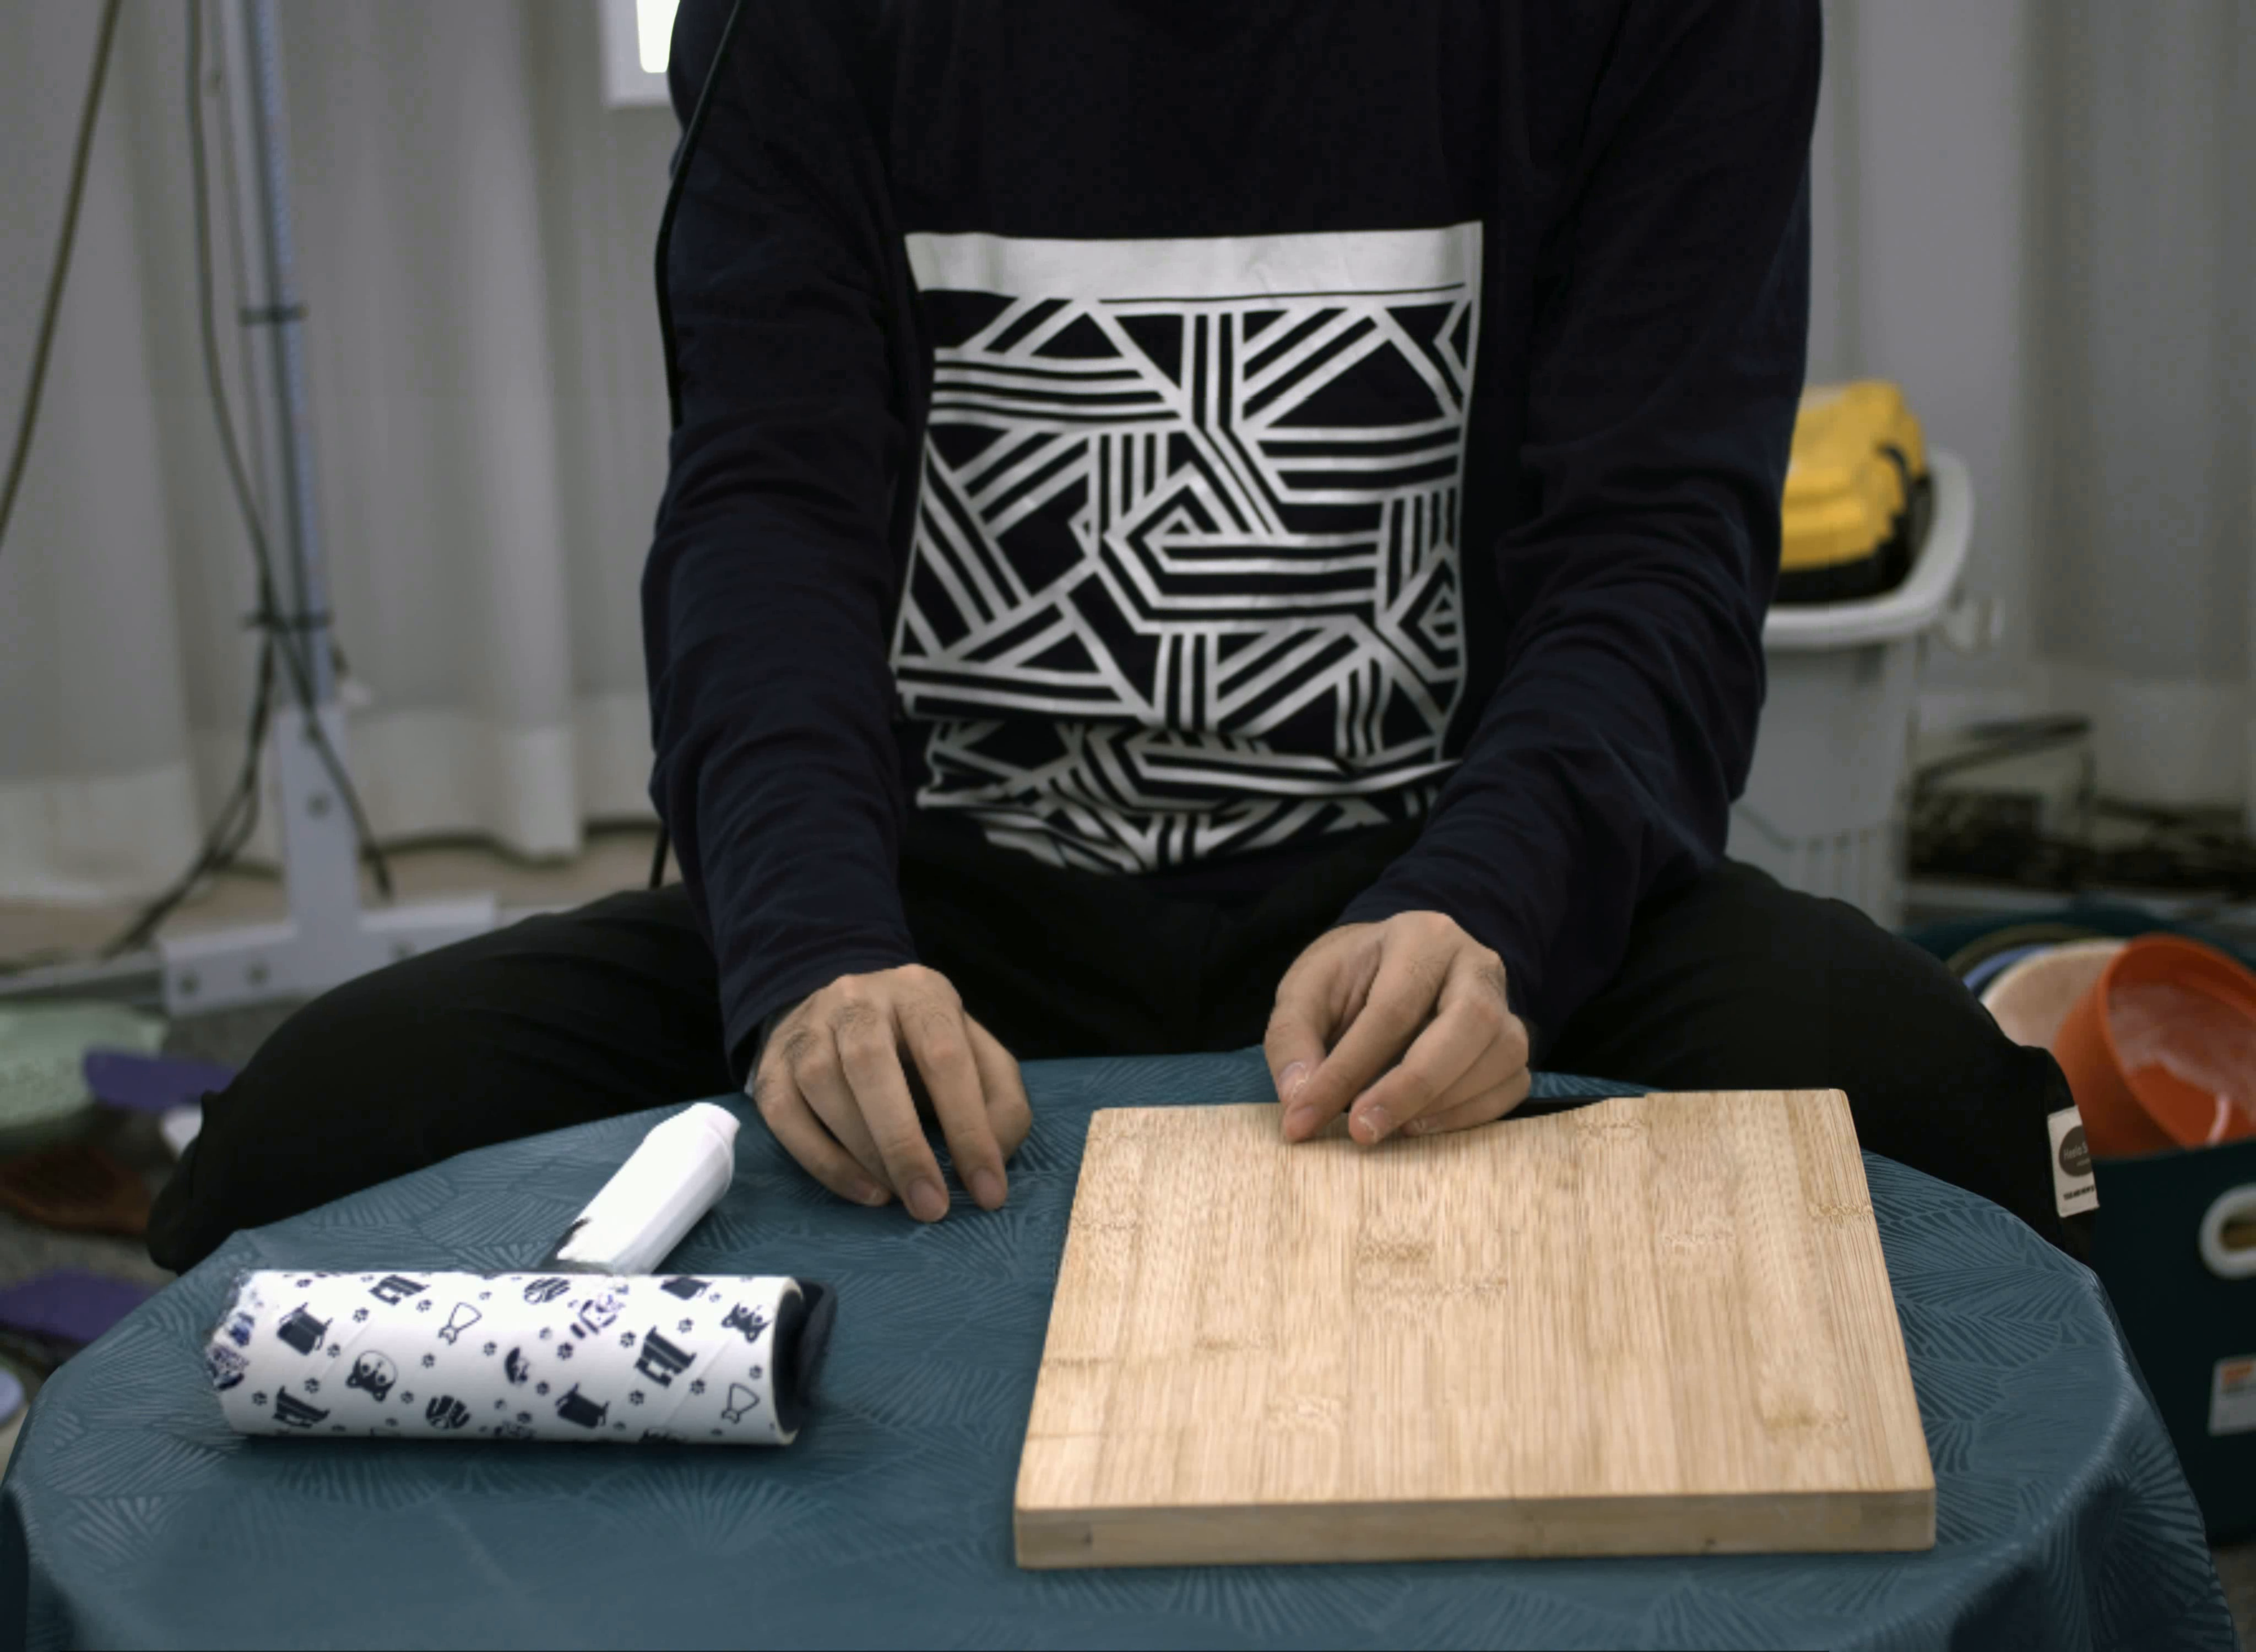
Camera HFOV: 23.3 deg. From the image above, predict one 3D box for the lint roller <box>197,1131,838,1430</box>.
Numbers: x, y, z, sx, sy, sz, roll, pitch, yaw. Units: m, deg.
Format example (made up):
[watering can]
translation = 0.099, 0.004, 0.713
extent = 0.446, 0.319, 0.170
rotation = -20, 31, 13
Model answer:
[lint roller]
translation = -0.156, 0.125, 1.628
extent = 0.176, 0.050, 0.248
rotation = -1, 12, 10

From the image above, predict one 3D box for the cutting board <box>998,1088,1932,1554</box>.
[cutting board]
translation = 0.098, 0.138, 1.580
extent = 0.250, 0.023, 0.351
rotation = -1, 15, 3
